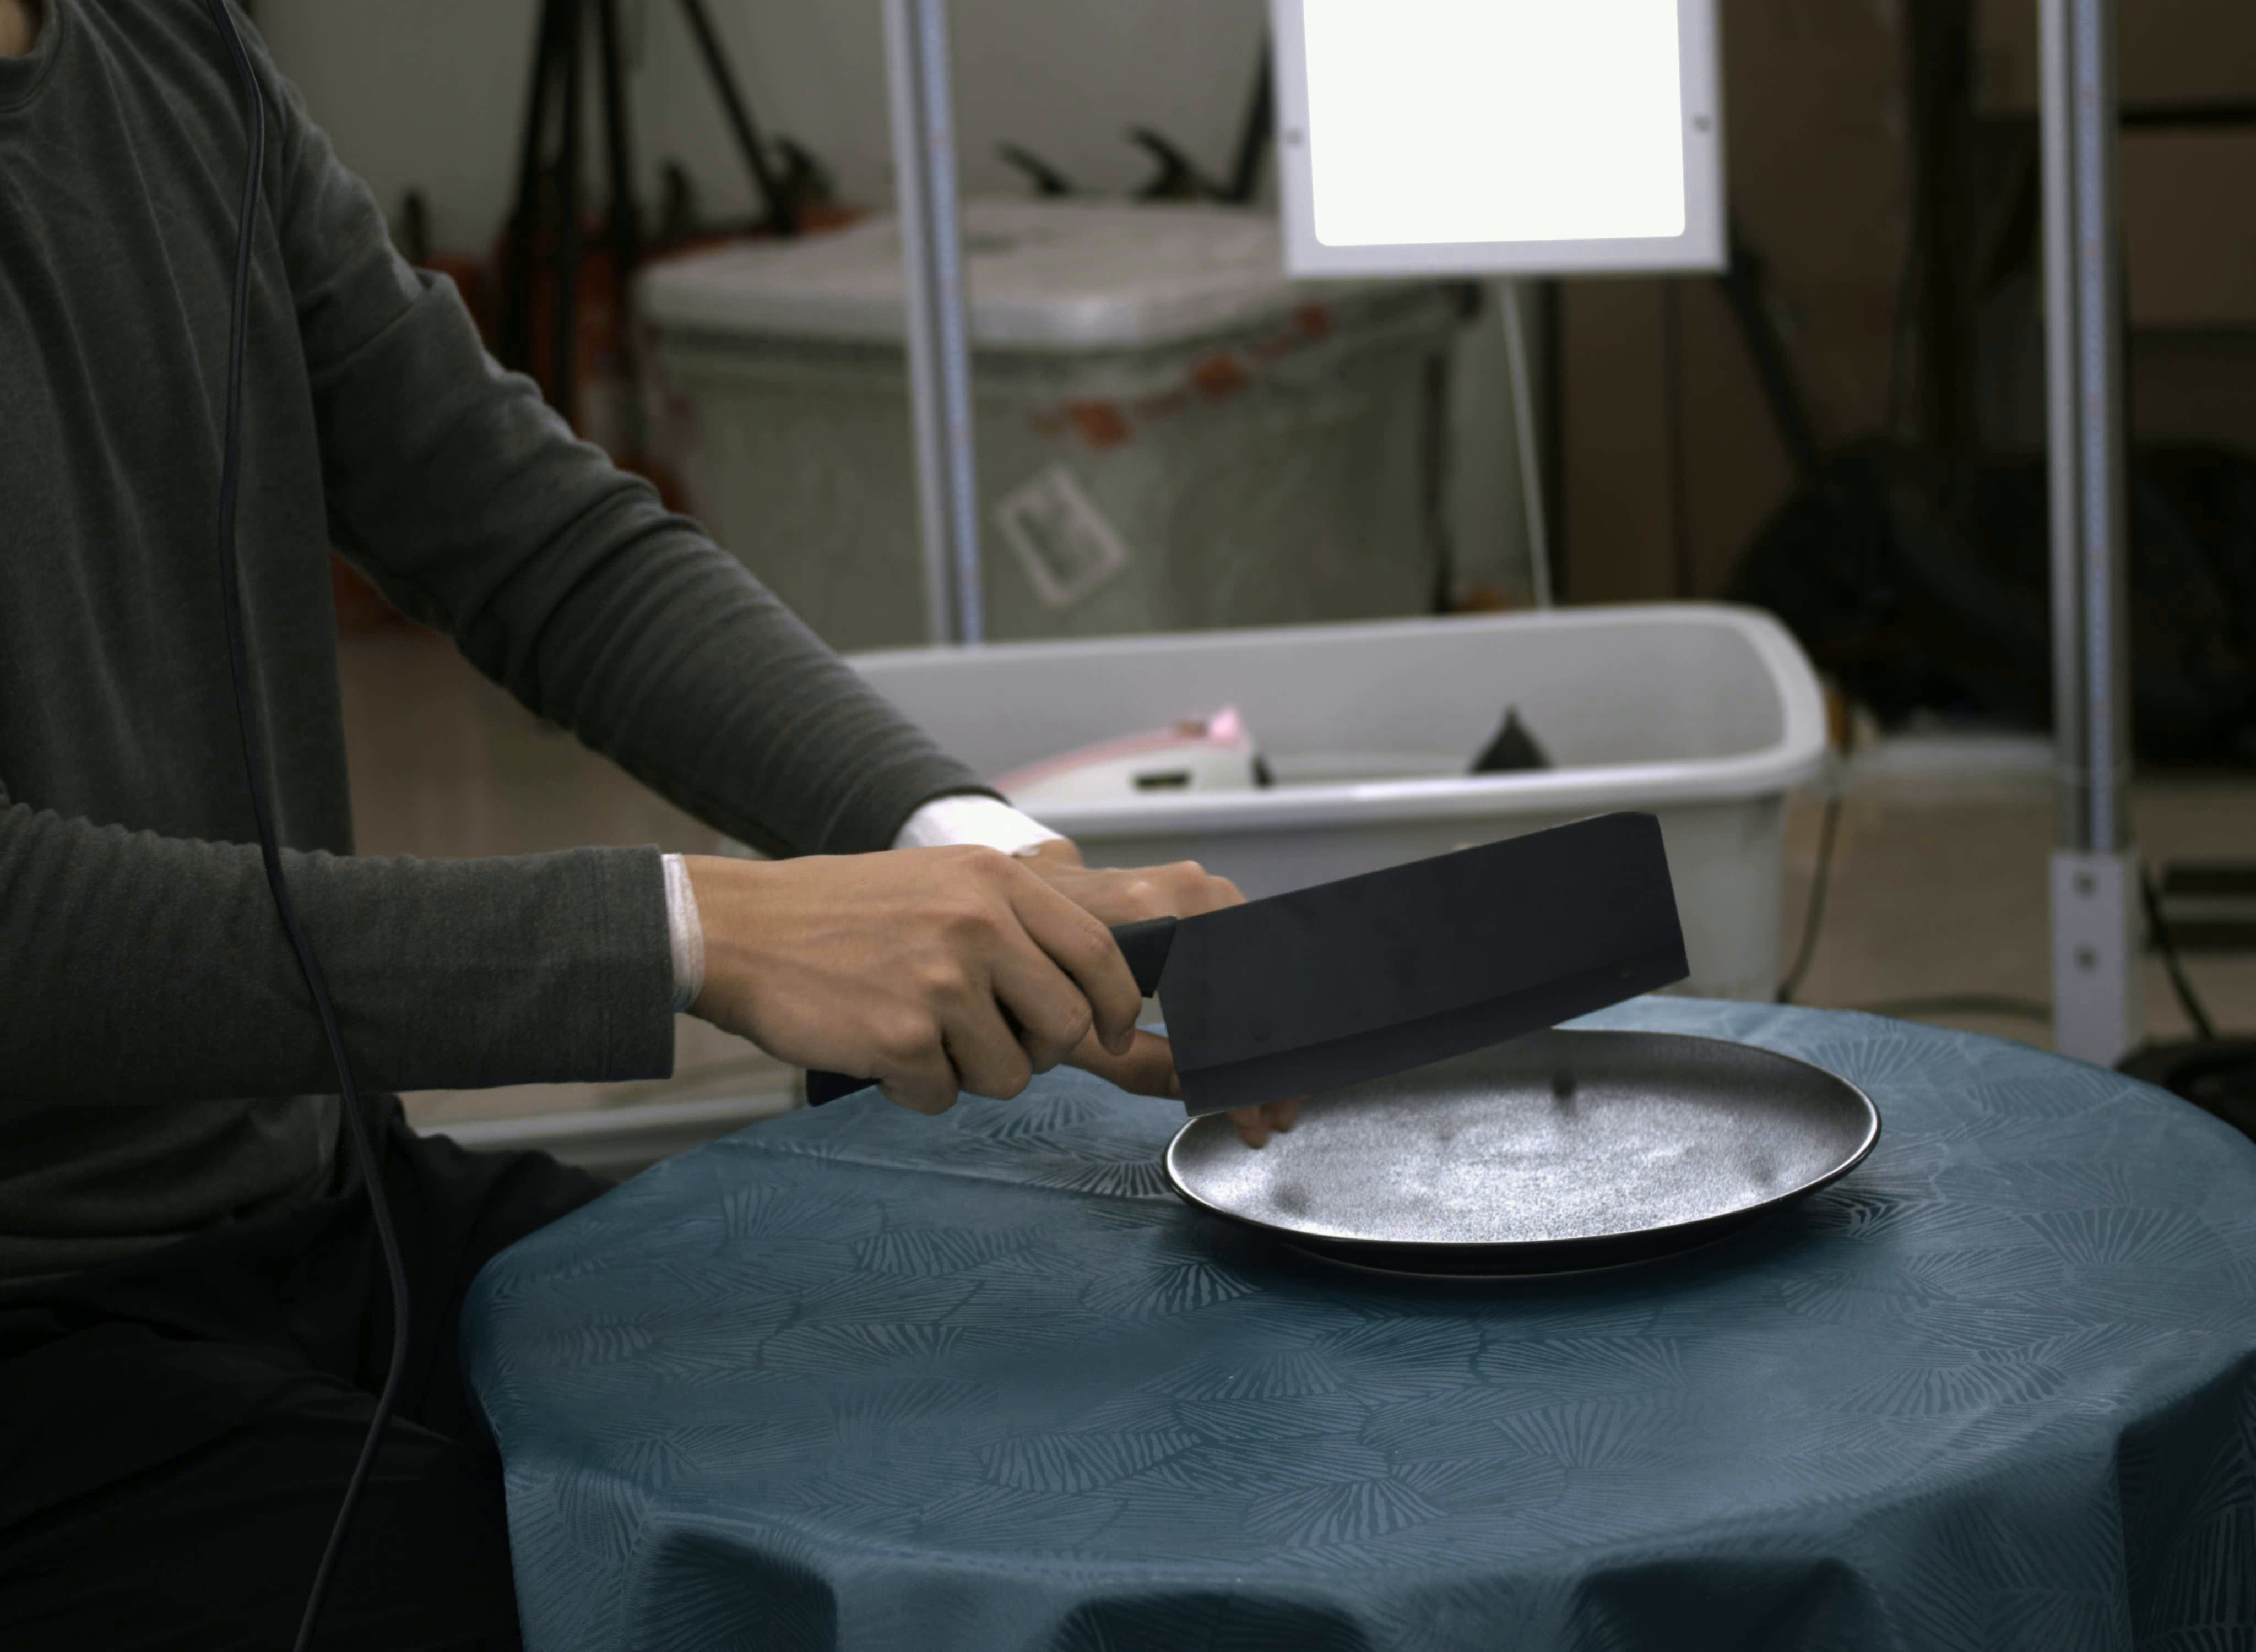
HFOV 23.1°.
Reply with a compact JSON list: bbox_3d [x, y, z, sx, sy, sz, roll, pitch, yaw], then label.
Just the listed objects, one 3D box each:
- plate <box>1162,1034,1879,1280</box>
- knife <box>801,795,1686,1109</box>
[{"bbox_3d":[0.133,0.114,1.859,0.244,0.023,0.244,-5,14,0],"label":"plate"},{"bbox_3d":[0.039,0.052,1.800,0.299,0.081,0.021,-10,2,-10],"label":"knife"}]
